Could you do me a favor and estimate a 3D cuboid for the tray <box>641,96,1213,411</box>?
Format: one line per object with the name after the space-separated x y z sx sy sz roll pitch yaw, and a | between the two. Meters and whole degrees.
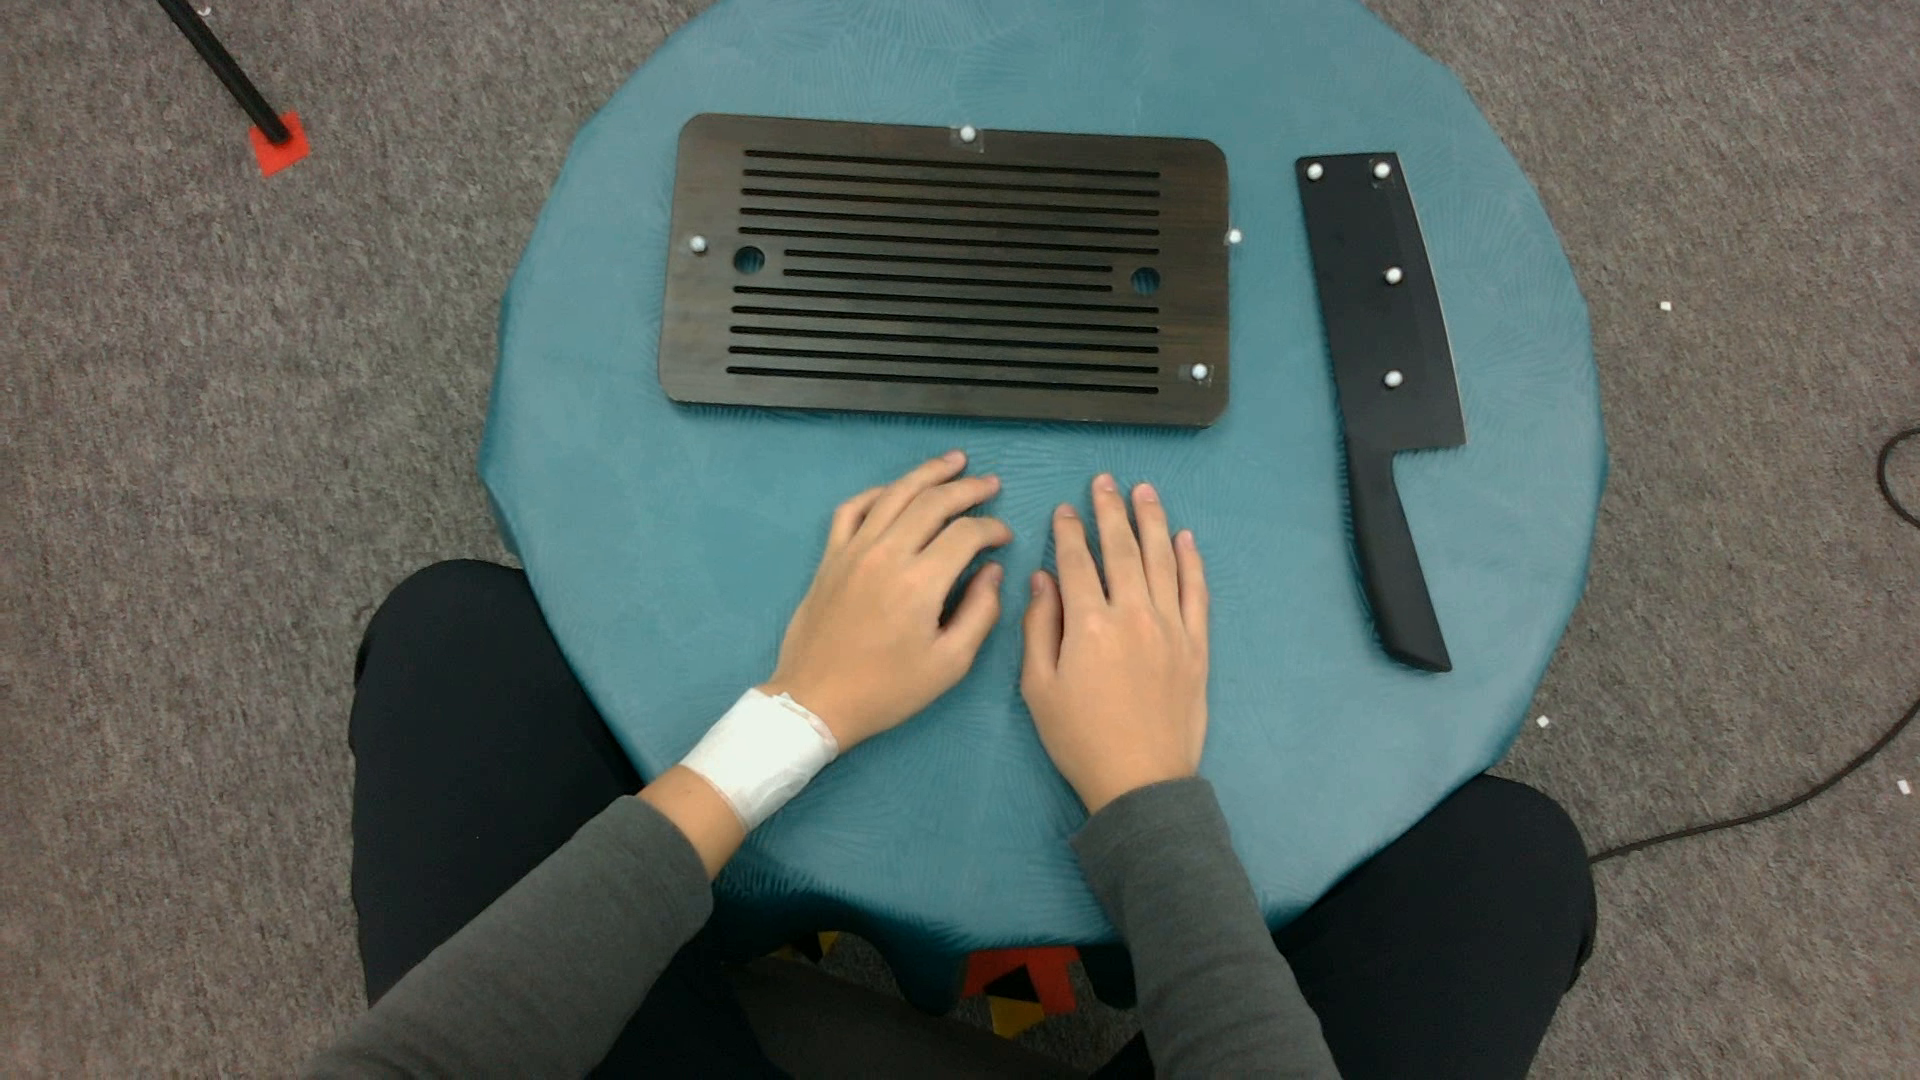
-0.014 -0.157 0.754 0.306 0.018 0.170 3 76 -2 | tray

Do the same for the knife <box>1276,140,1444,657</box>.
0.225 -0.086 0.750 0.081 0.021 0.303 -1 74 -4 | knife
